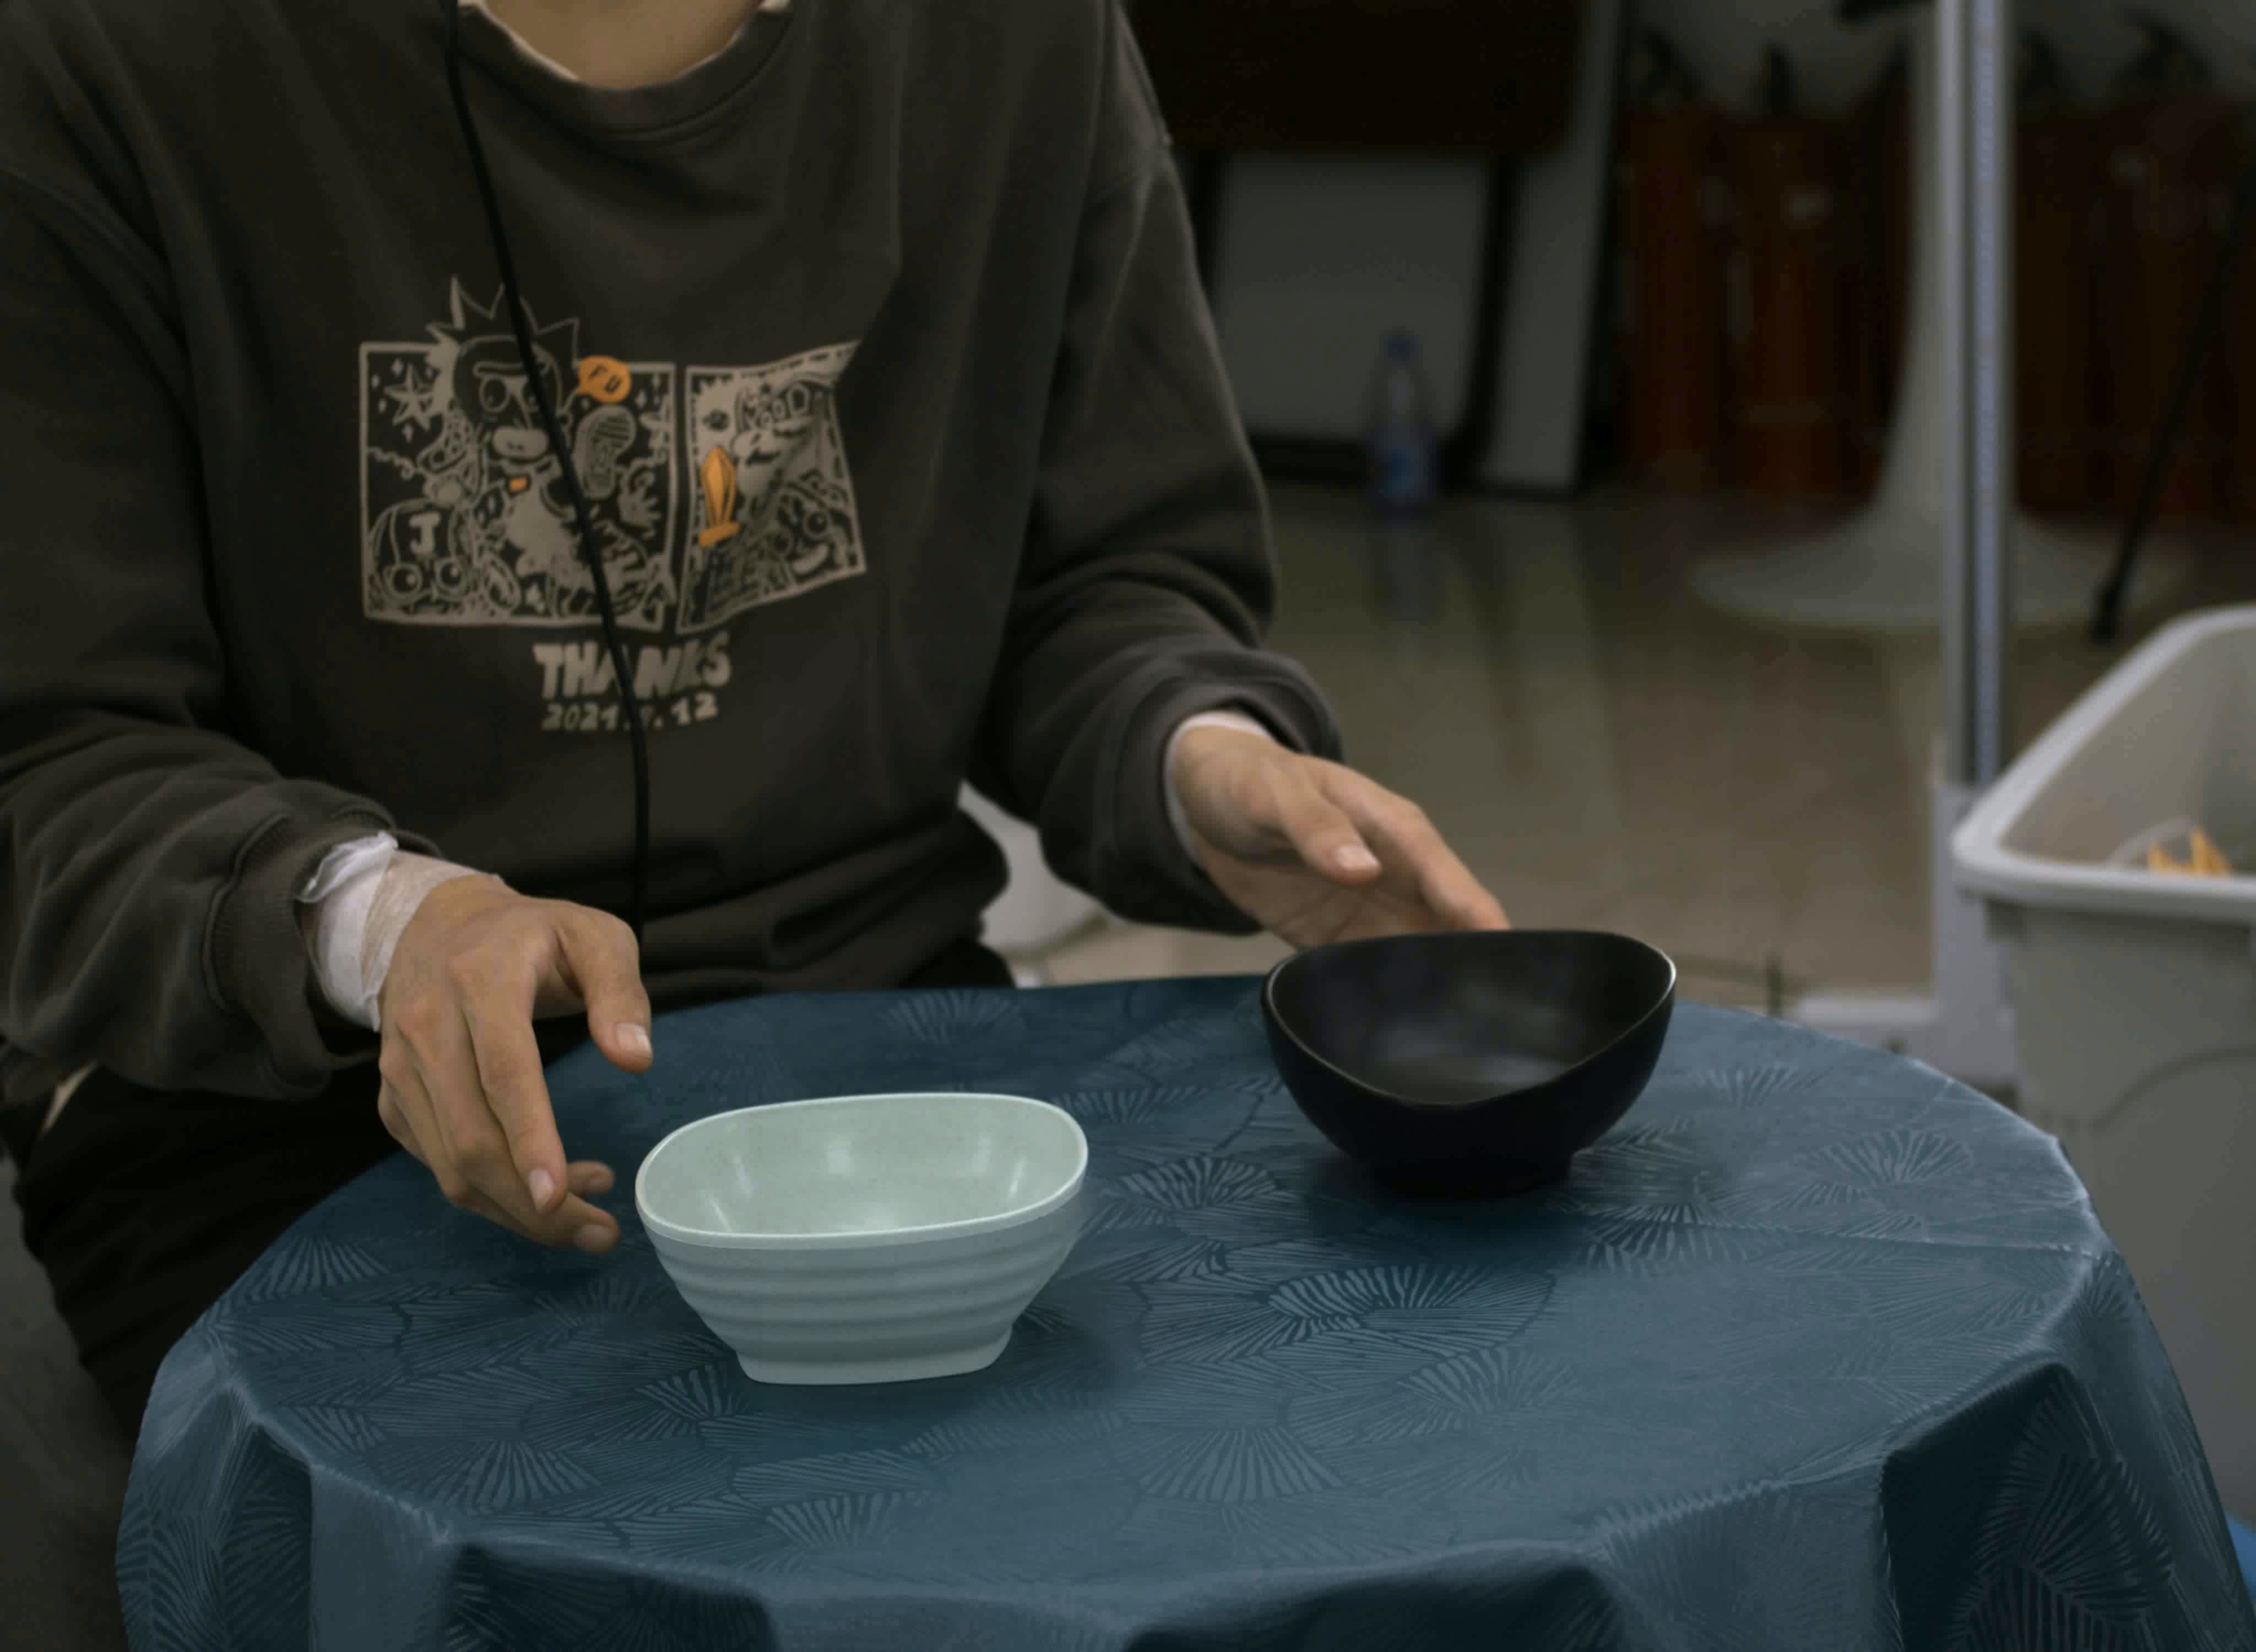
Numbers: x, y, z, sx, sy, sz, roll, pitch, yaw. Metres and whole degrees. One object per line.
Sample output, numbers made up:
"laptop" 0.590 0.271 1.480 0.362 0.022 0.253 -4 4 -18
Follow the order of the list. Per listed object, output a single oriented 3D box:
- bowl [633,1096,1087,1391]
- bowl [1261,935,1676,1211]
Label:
"bowl" -0.080 0.130 1.642 0.149 0.059 0.152 -2 14 0
"bowl" 0.113 0.084 1.764 0.136 0.067 0.170 -3 15 7
